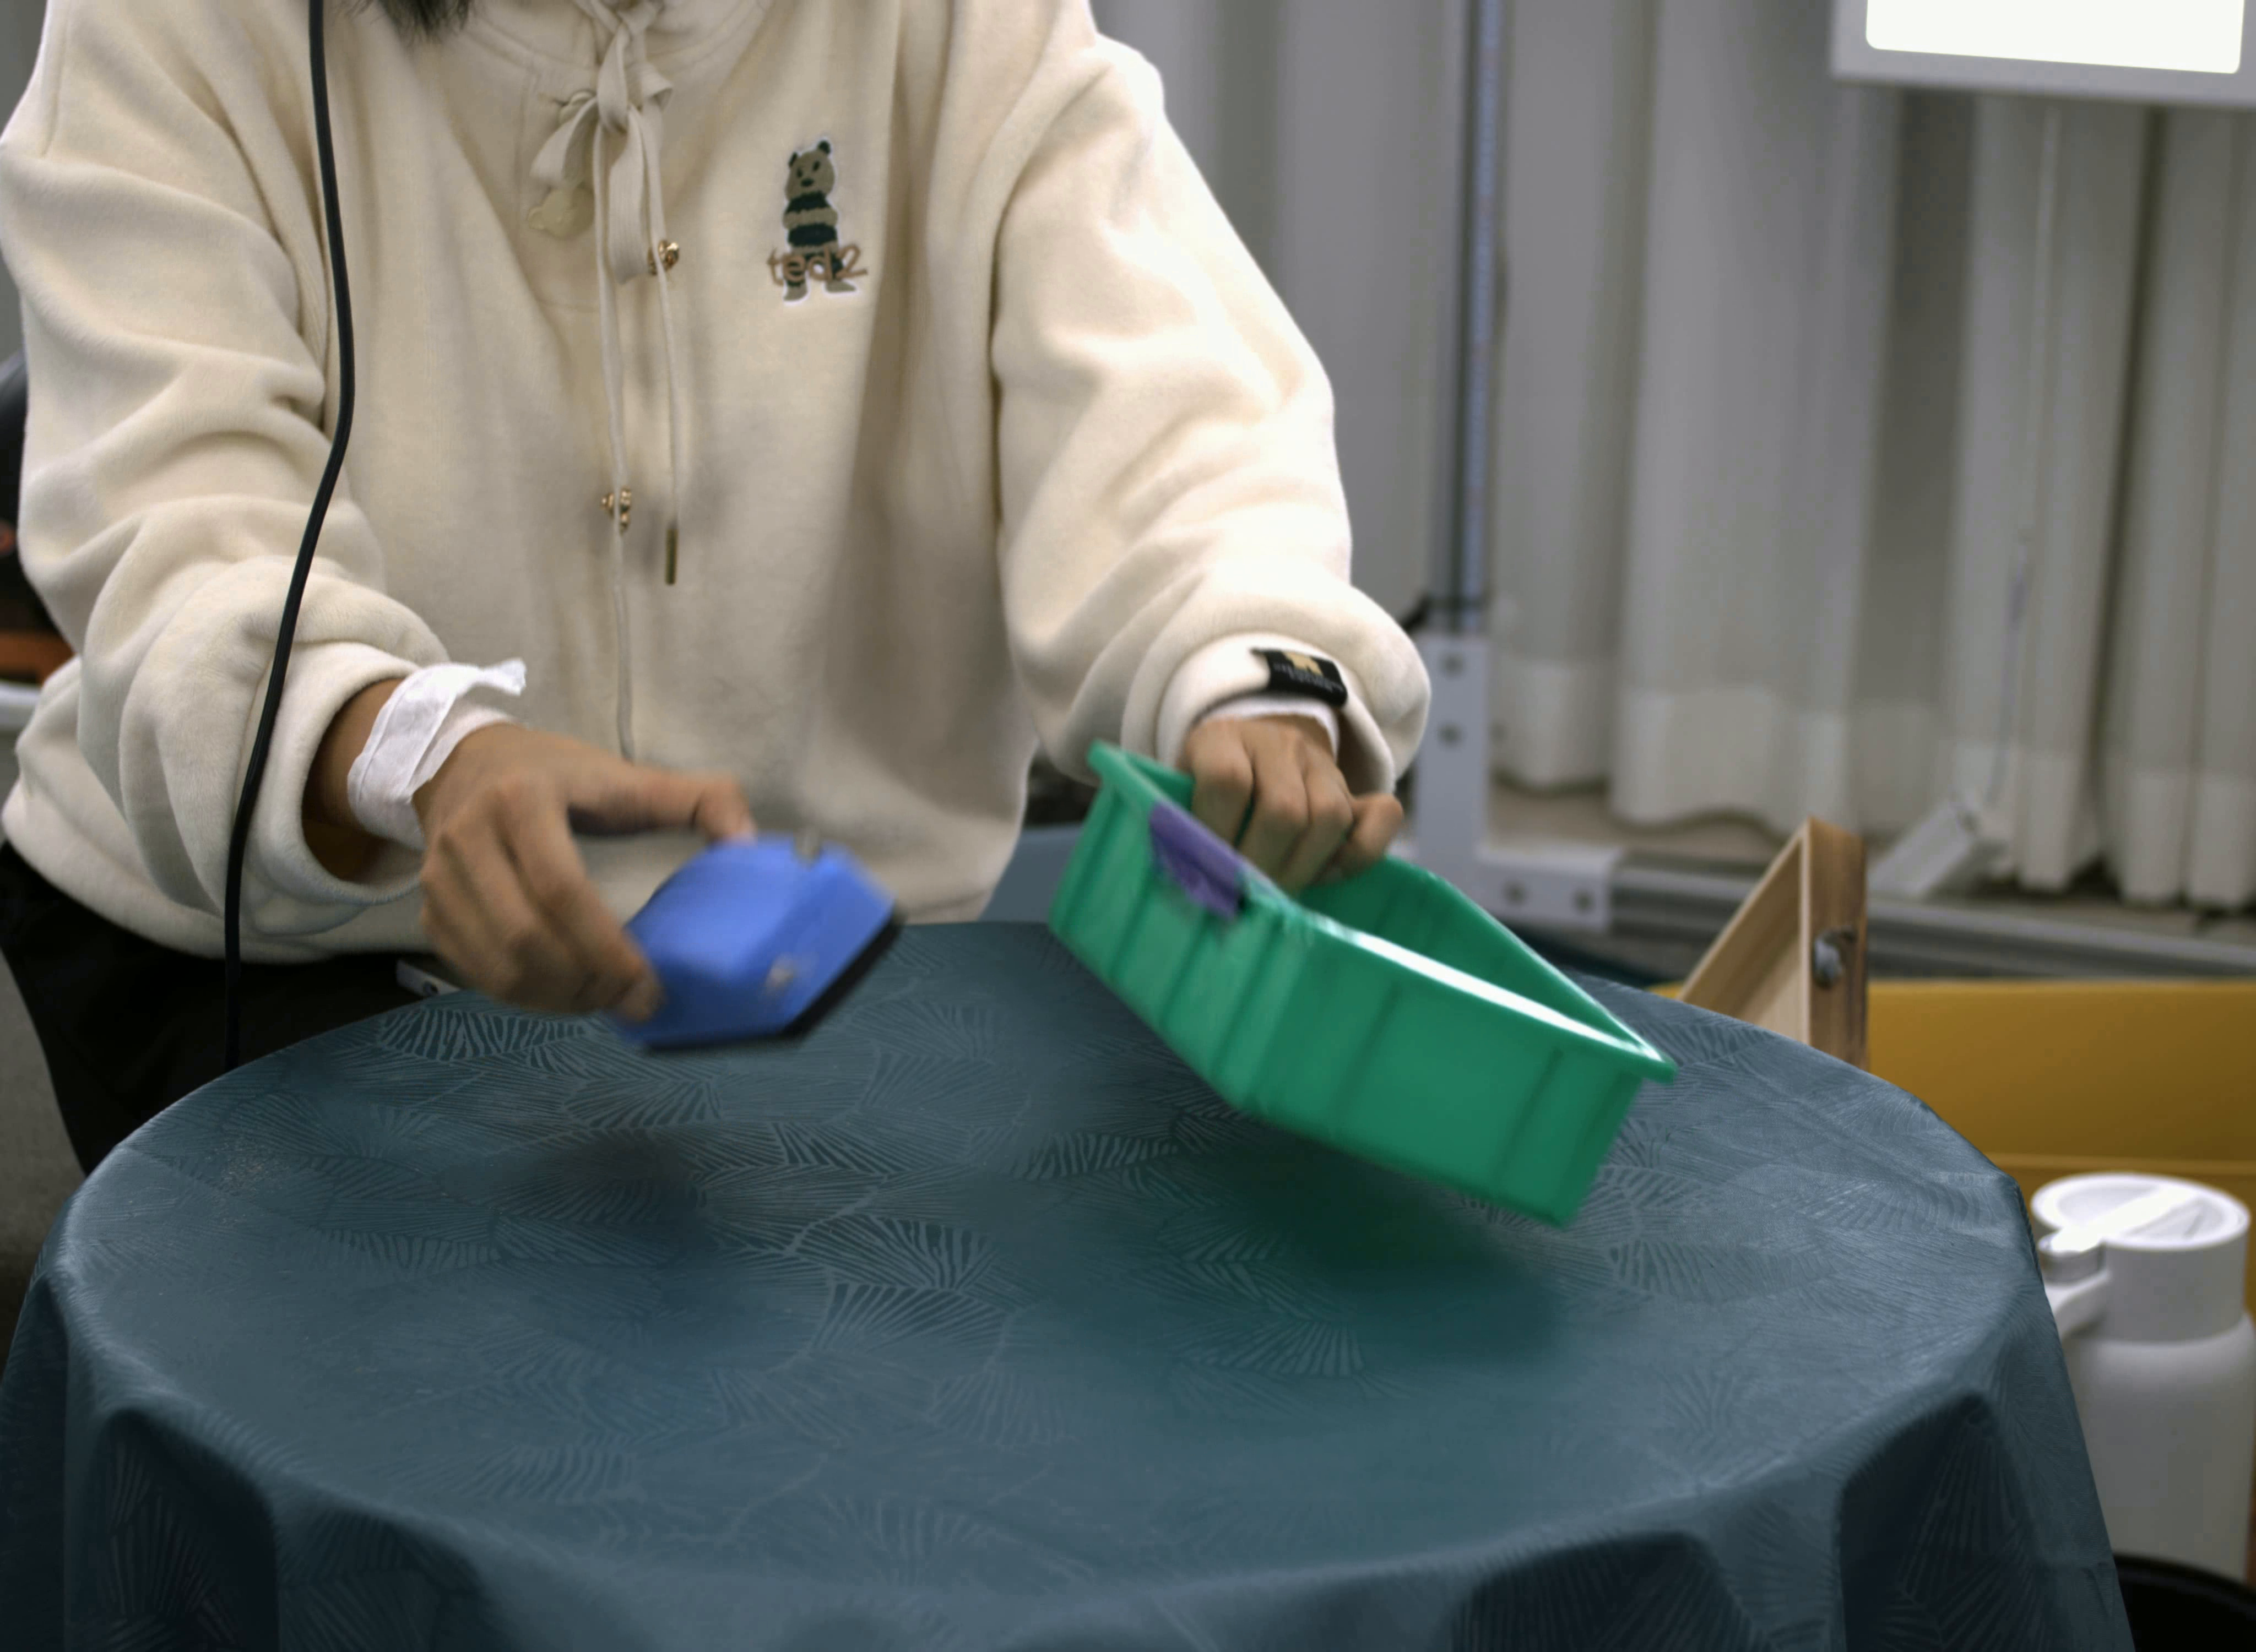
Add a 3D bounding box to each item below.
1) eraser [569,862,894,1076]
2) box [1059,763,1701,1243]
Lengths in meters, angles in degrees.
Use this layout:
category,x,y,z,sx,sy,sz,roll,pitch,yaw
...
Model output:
category,x,y,z,sx,sy,sz,roll,pitch,yaw
eraser,-0.126,0.043,1.592,0.054,0.048,0.161,-45,14,-17
box,0.069,0.054,1.603,0.140,0.065,0.208,18,10,-25
